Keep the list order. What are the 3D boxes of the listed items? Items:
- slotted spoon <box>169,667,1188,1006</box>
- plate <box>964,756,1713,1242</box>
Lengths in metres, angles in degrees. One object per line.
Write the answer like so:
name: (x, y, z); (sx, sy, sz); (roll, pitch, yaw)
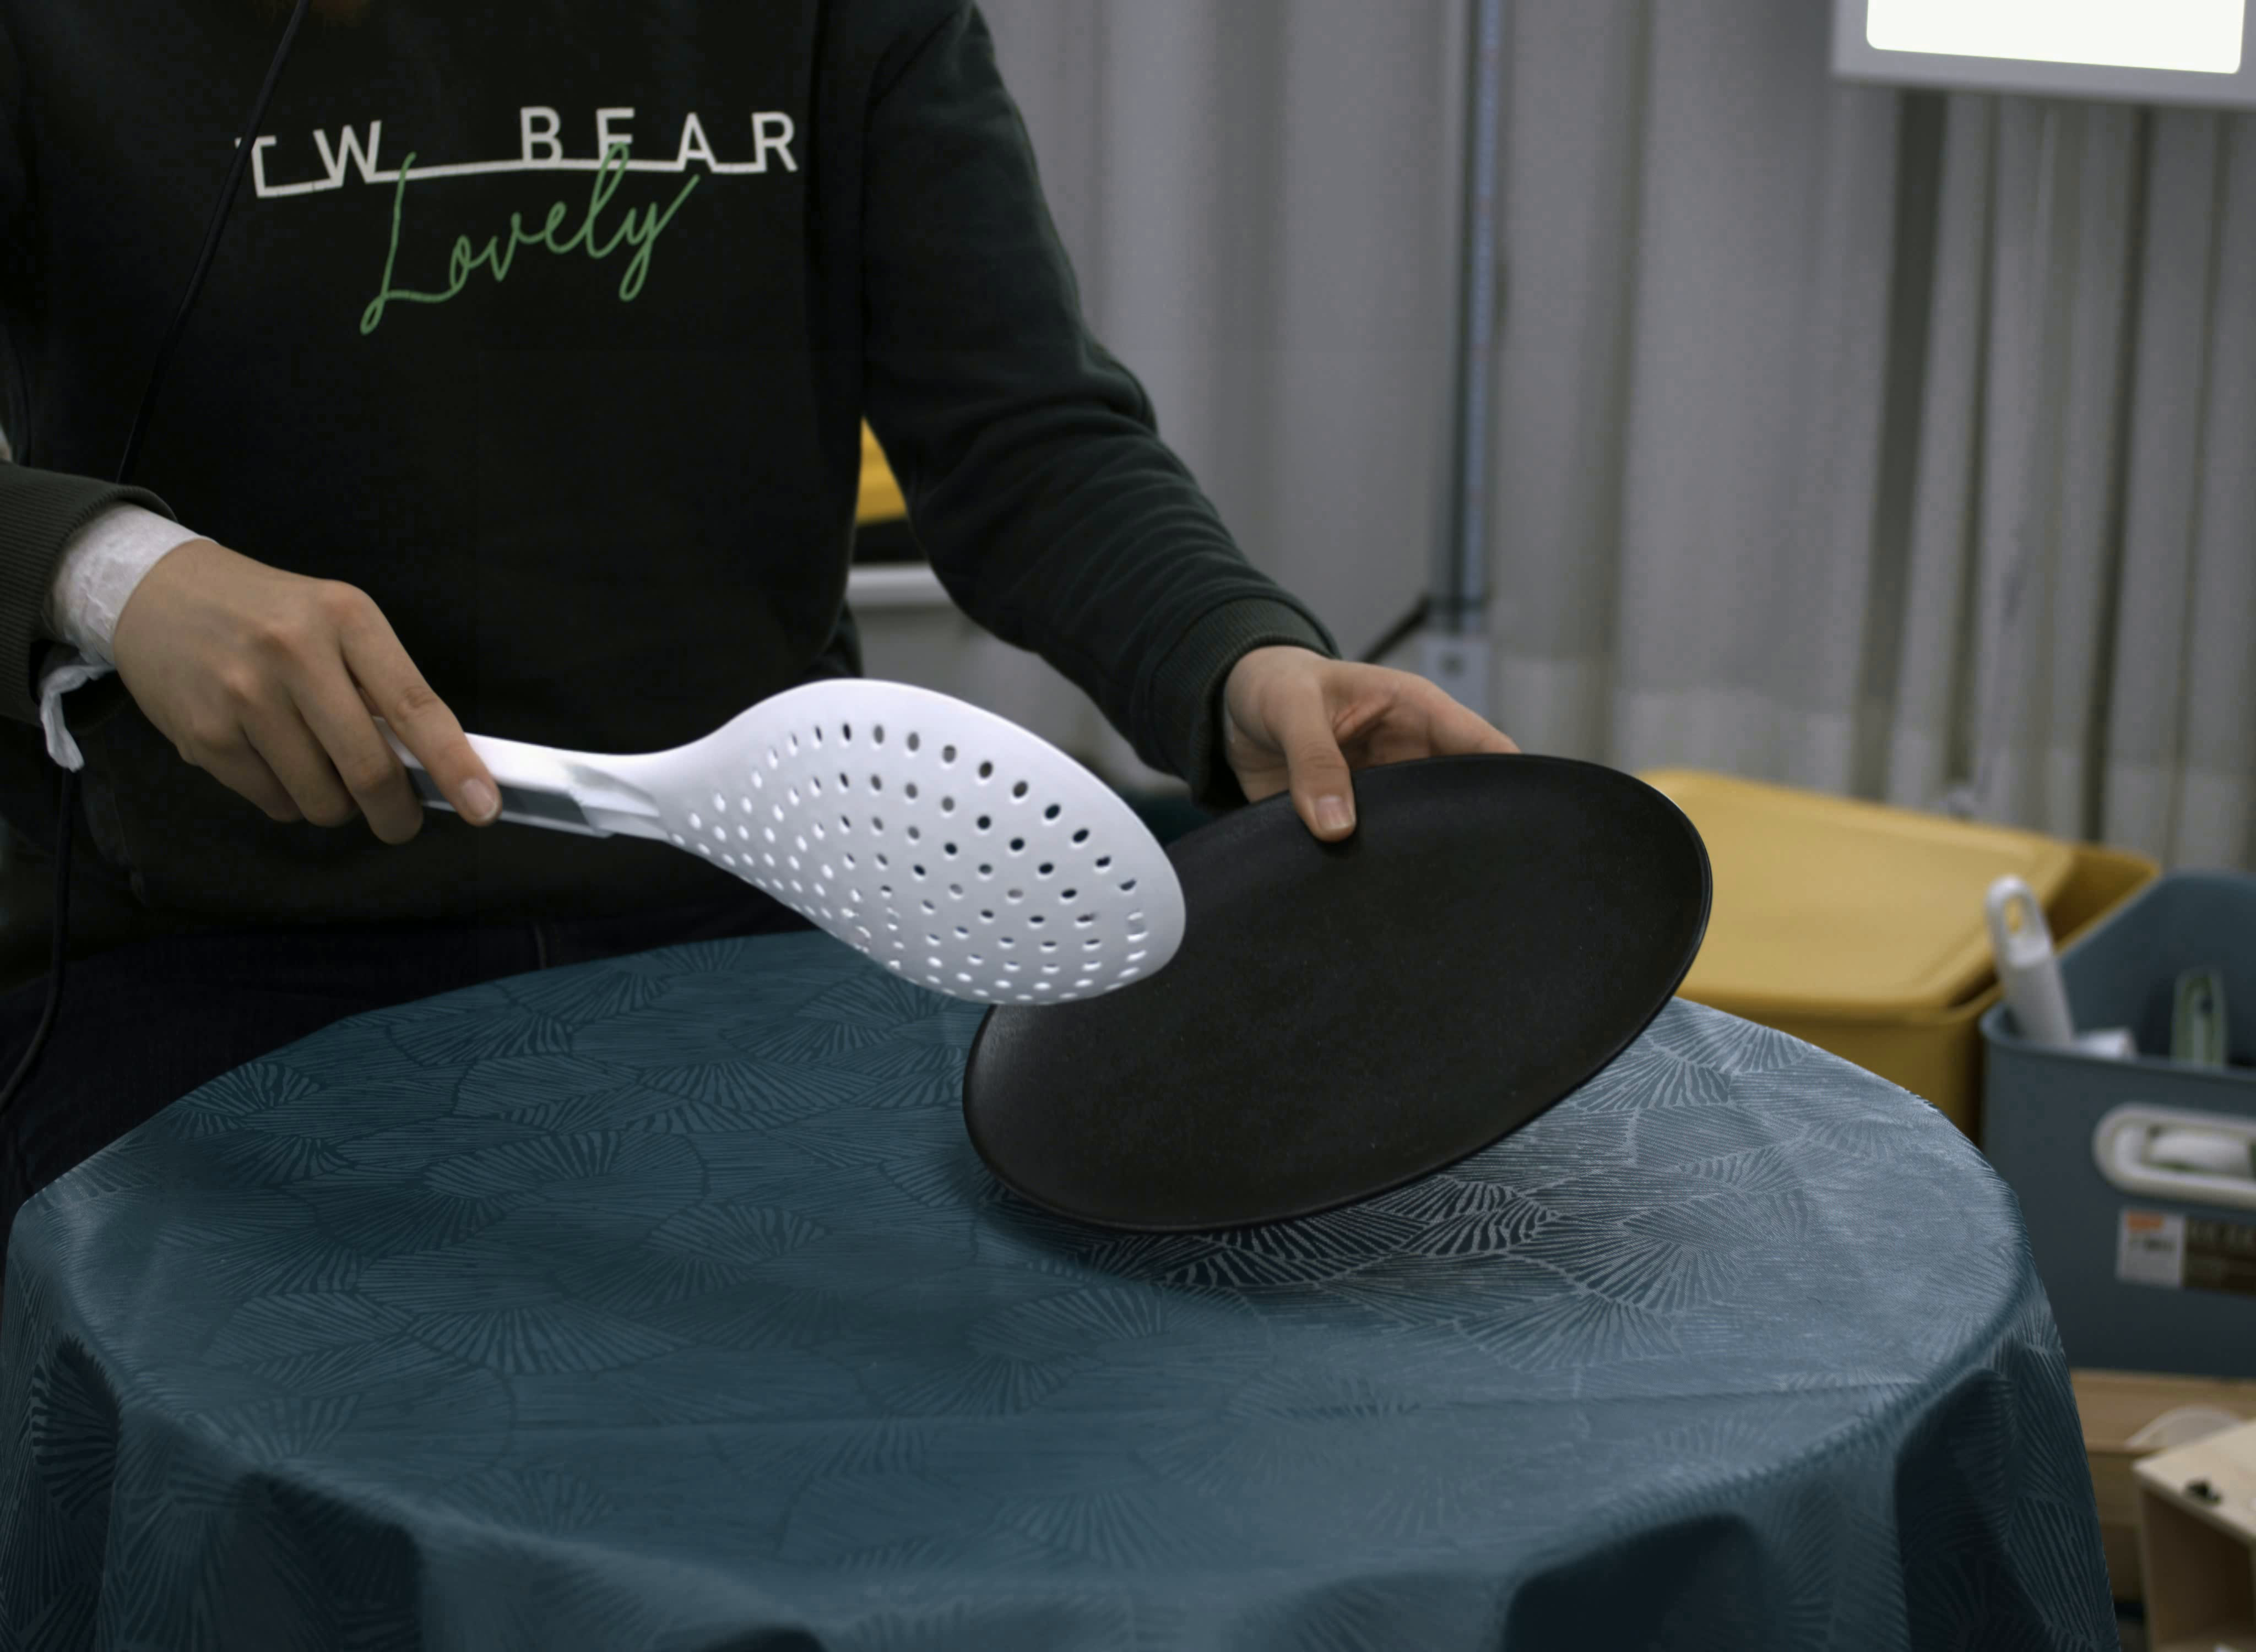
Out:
slotted spoon: (-0.141, -0.007, 1.536); (0.345, 0.138, 0.045); (13, 56, 31)
plate: (0.067, 0.056, 1.627); (0.243, 0.024, 0.242); (-16, 30, 10)
